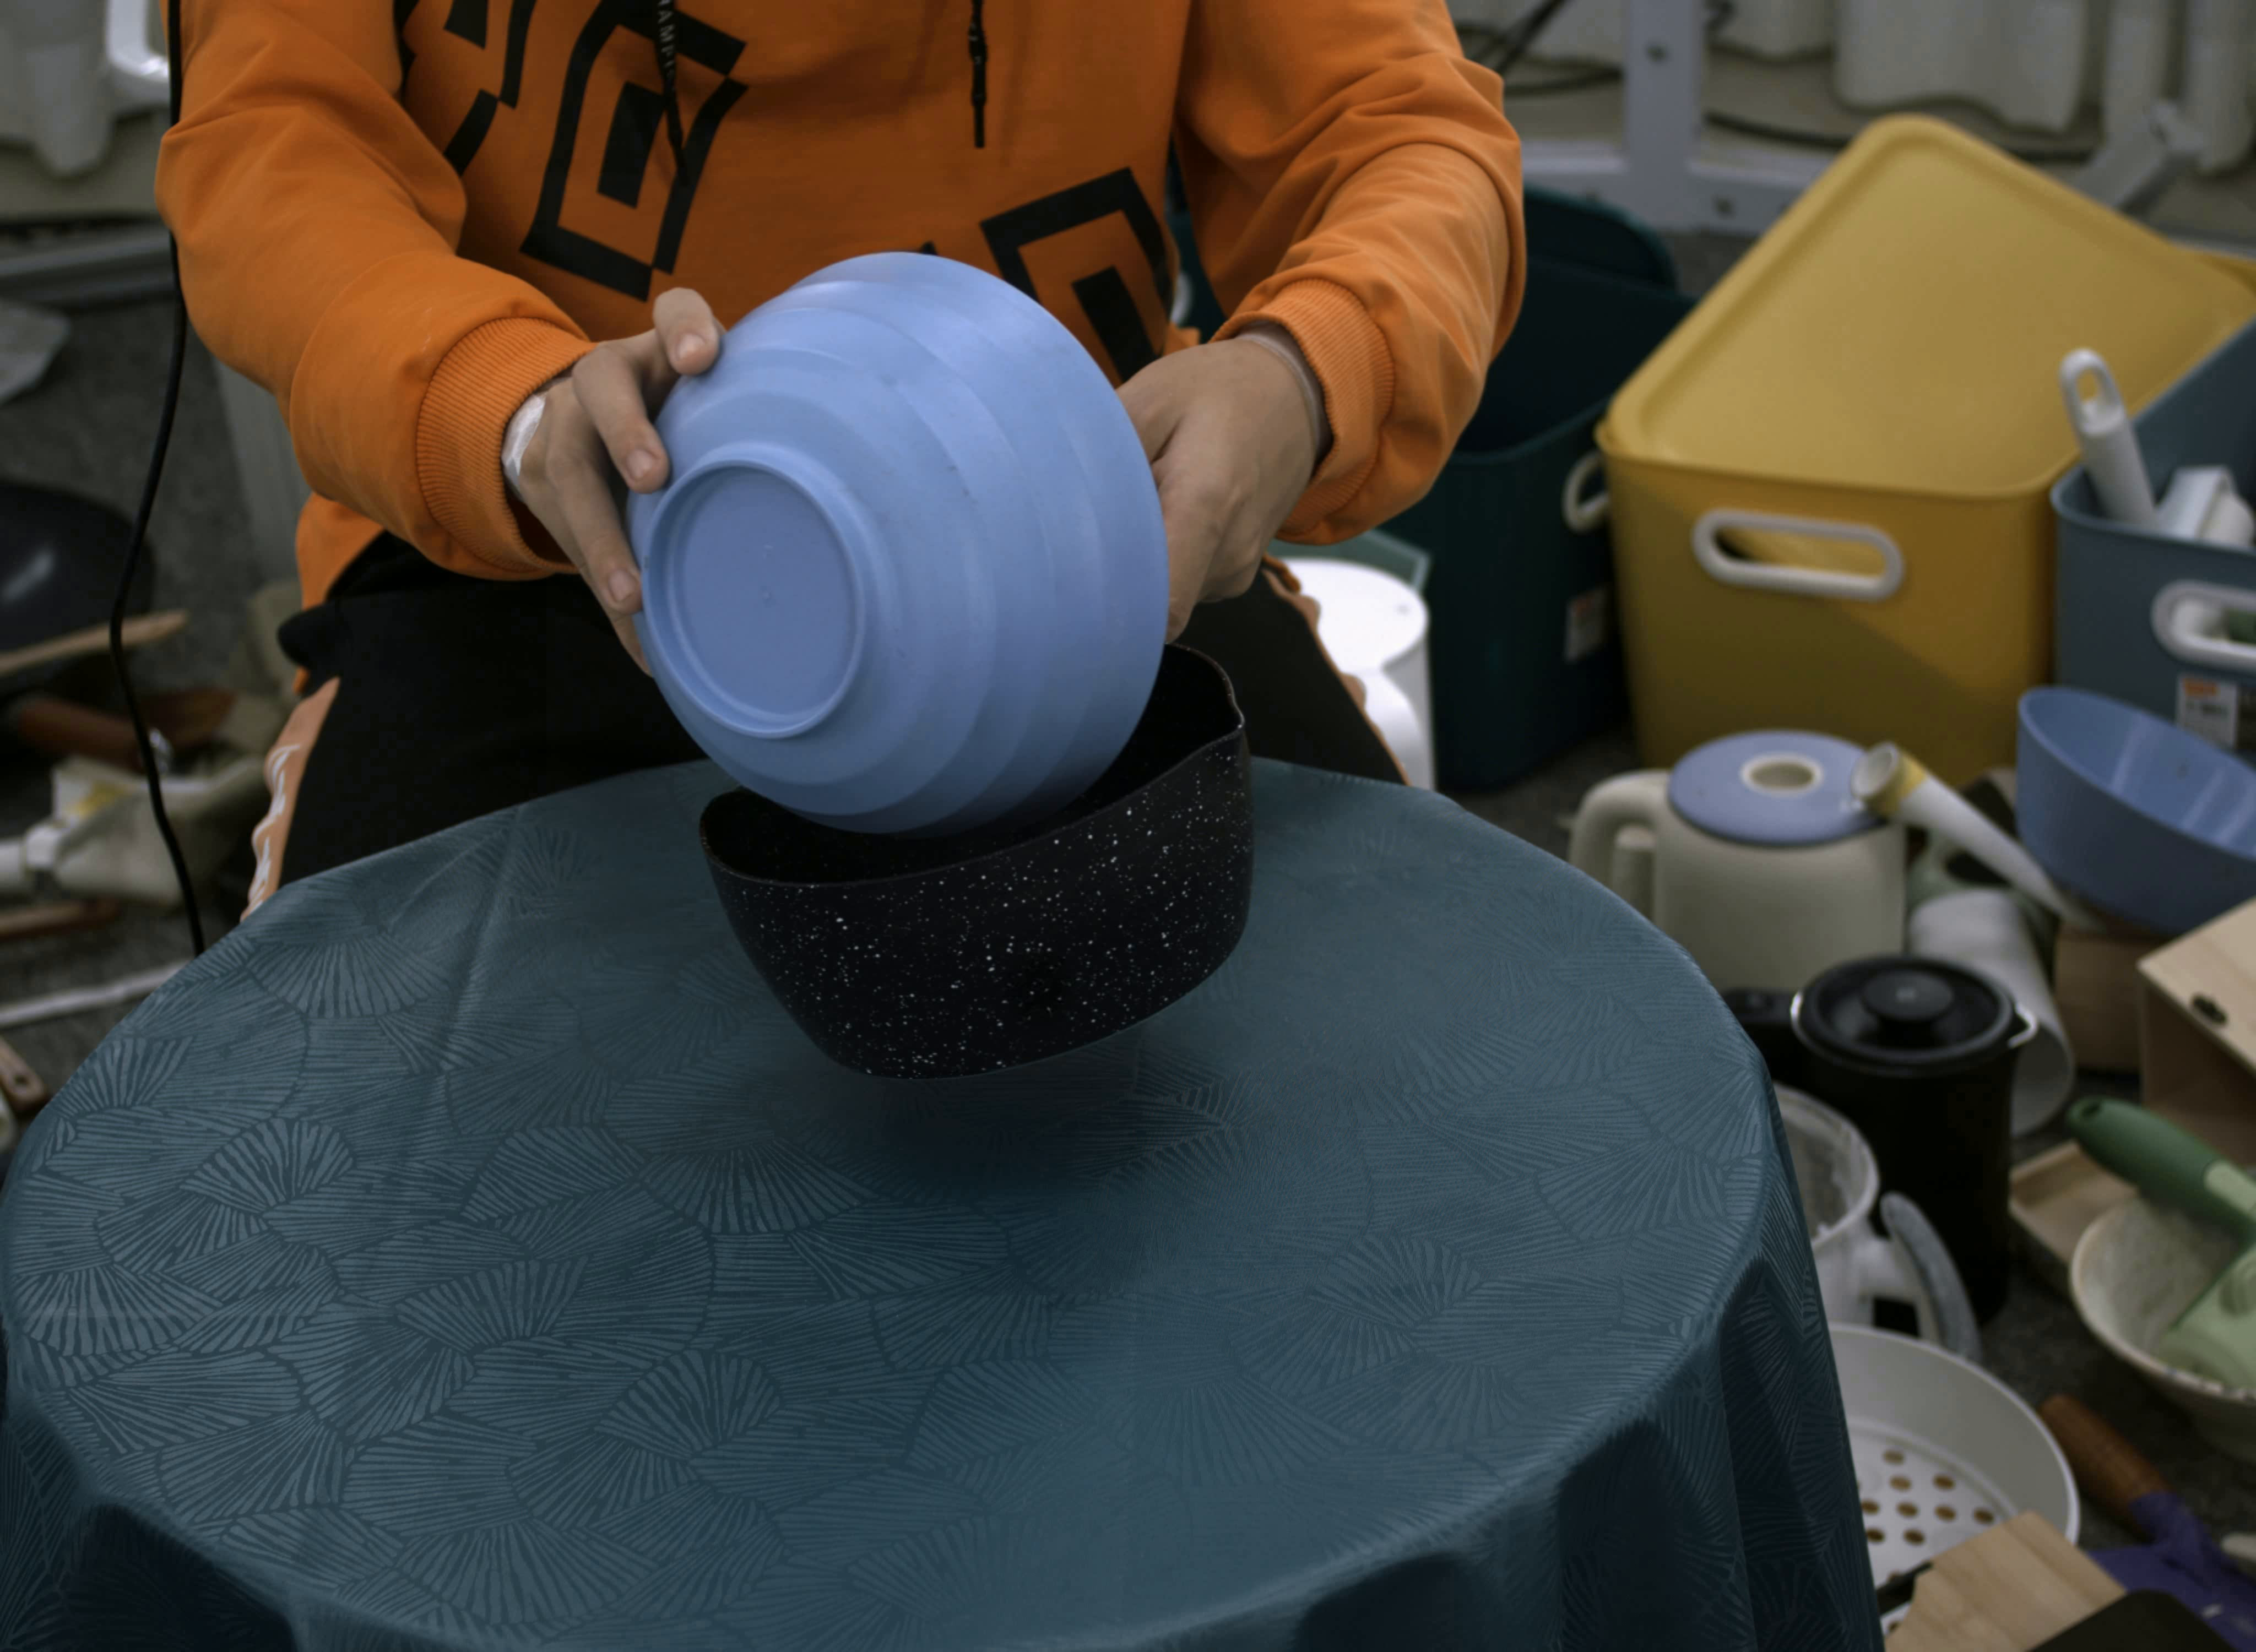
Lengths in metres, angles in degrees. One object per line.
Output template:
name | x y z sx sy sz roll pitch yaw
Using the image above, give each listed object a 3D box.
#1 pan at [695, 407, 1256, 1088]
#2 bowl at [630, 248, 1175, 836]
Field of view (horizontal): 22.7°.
pan | -0.025 -0.031 1.948 0.205 0.107 0.349 -9 23 22
bowl | -0.091 -0.083 1.824 0.195 0.195 0.096 16 21 32
